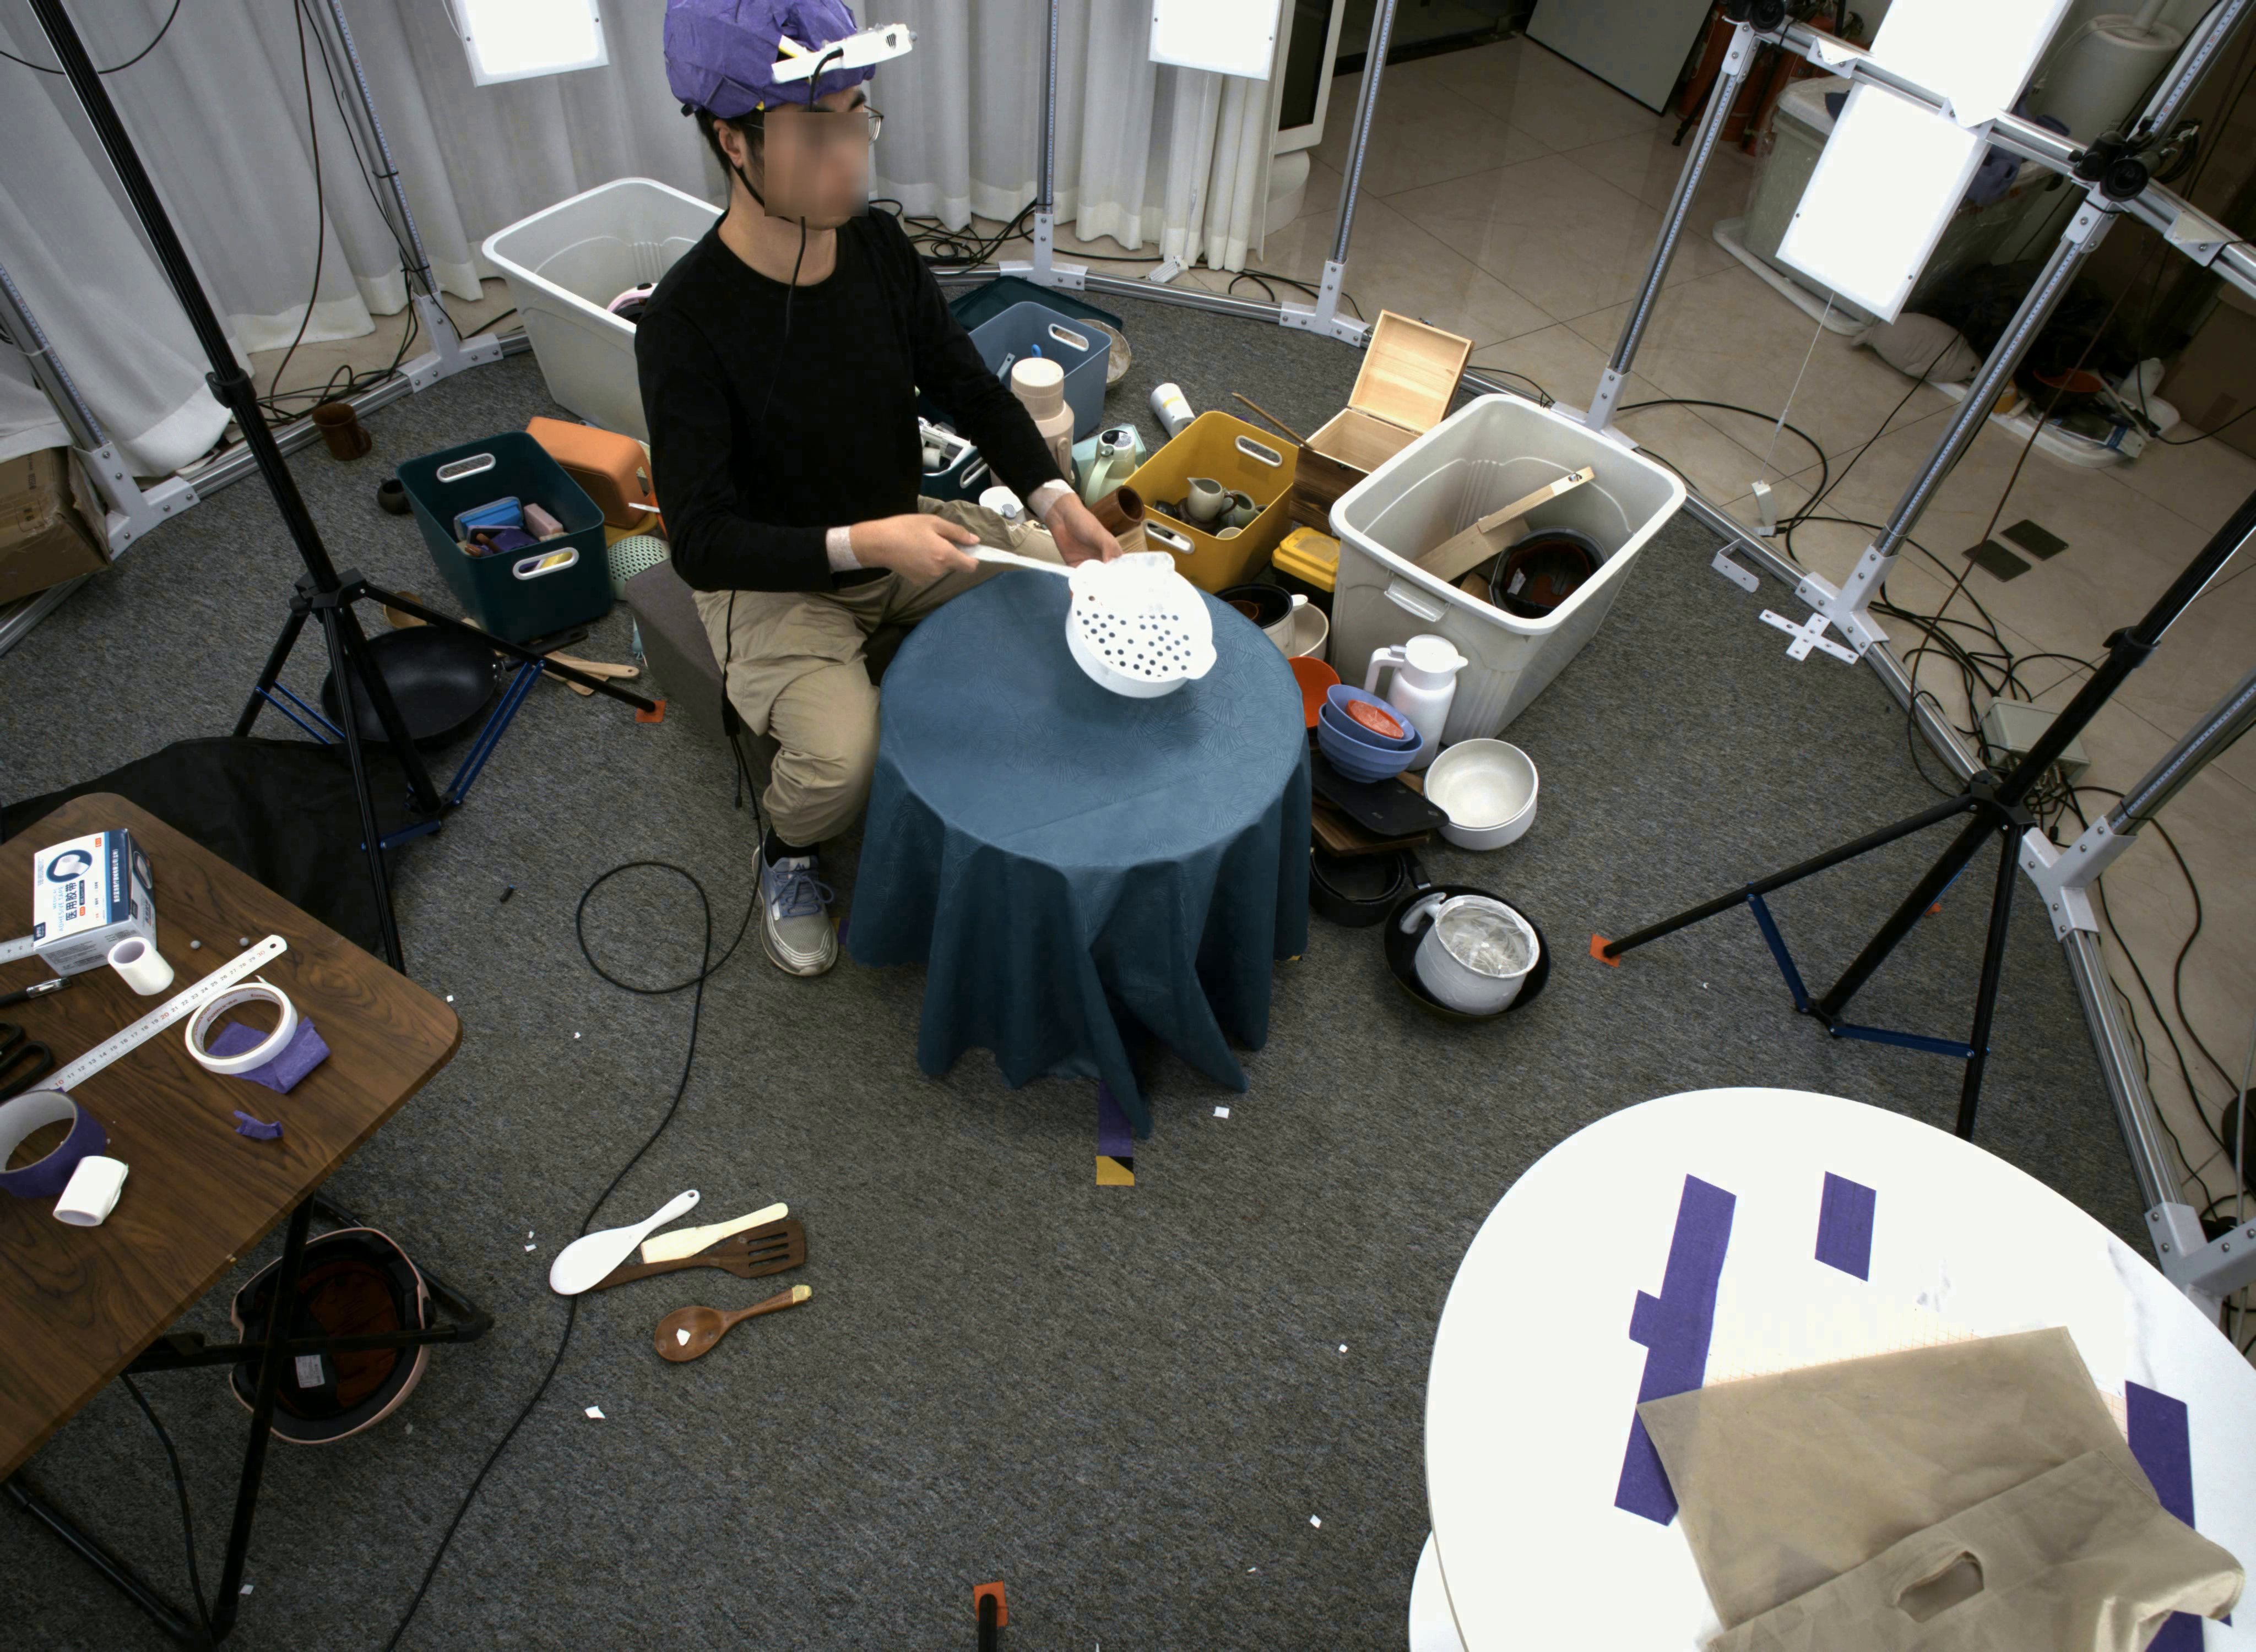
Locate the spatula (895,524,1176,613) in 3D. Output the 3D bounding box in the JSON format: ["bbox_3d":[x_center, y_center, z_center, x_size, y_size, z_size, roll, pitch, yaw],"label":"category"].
[{"bbox_3d":[-0.120,-0.346,1.662,0.364,0.044,0.100,11,70,-7],"label":"spatula"}]

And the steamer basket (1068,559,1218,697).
[{"bbox_3d":[0.015,-0.273,1.786,0.231,0.068,0.205,37,58,5],"label":"steamer basket"}]
